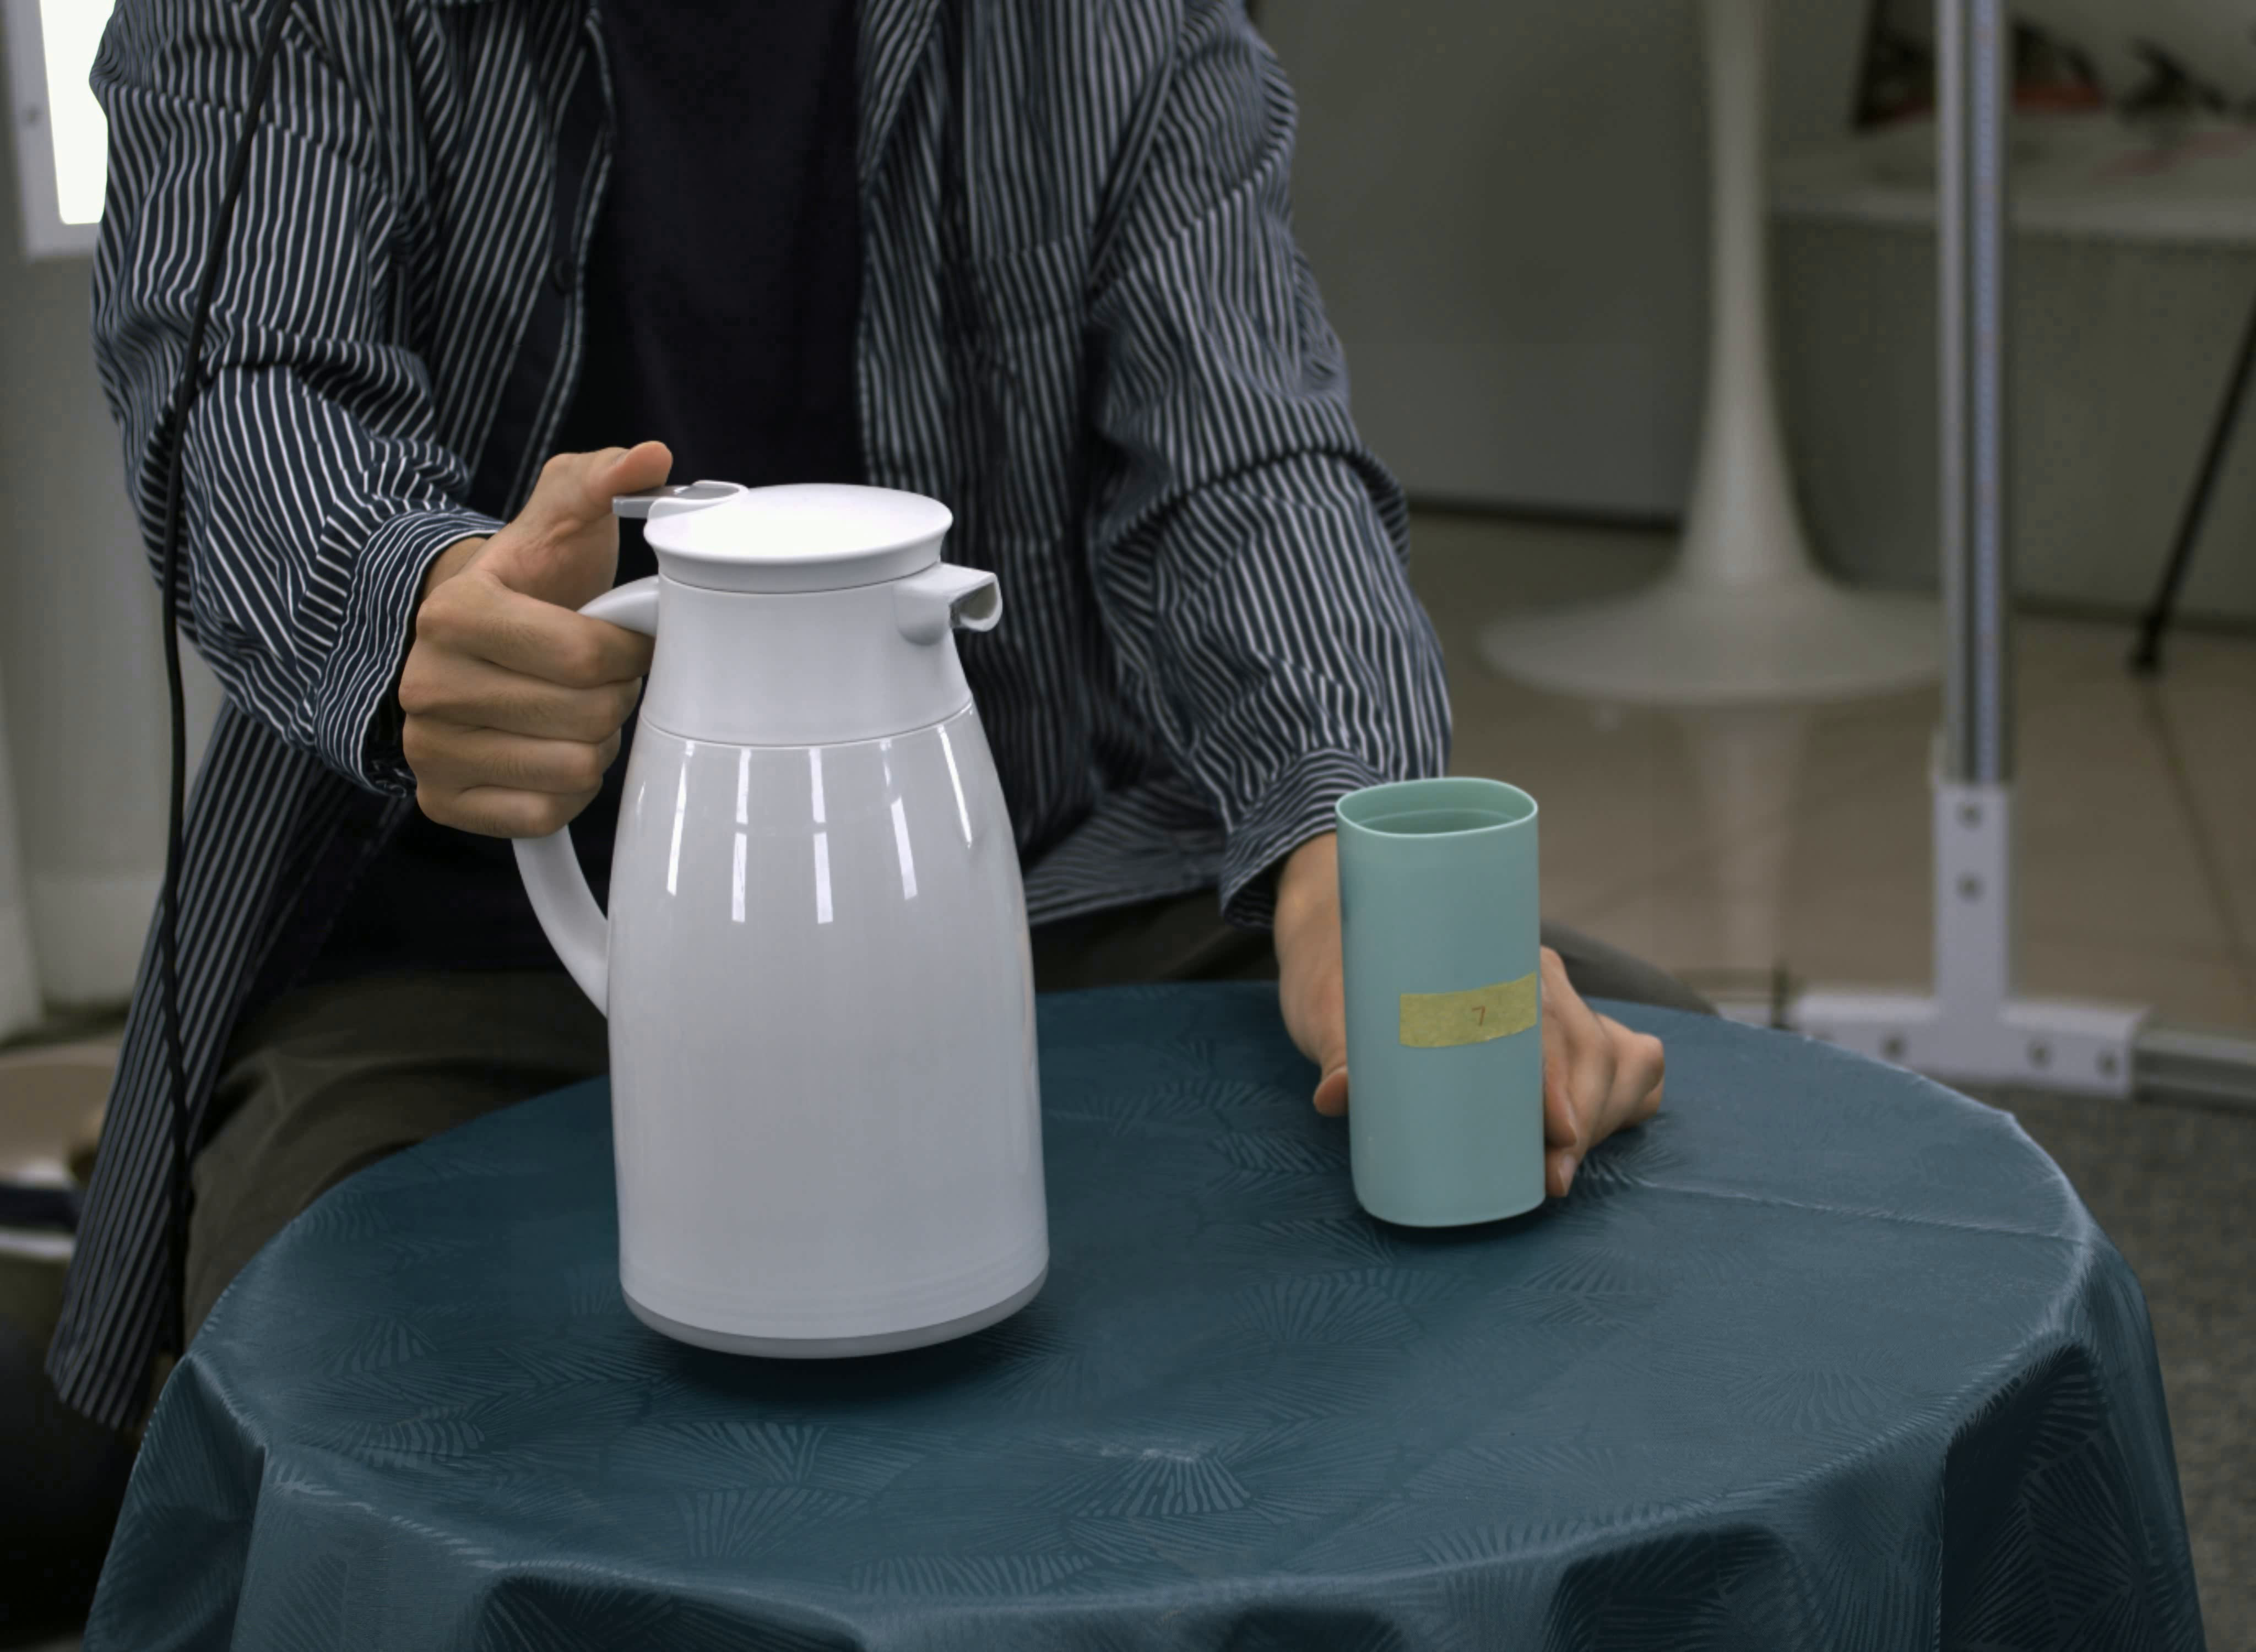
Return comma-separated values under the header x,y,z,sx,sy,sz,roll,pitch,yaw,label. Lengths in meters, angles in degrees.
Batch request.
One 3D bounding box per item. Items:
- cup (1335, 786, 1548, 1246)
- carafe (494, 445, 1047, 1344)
x,y,z,sx,sy,sz,roll,pitch,yaw,label
0.100,0.059,1.701,0.066,0.134,0.067,-4,15,0,cup
-0.112,0.013,1.616,0.168,0.251,0.131,4,17,24,carafe
